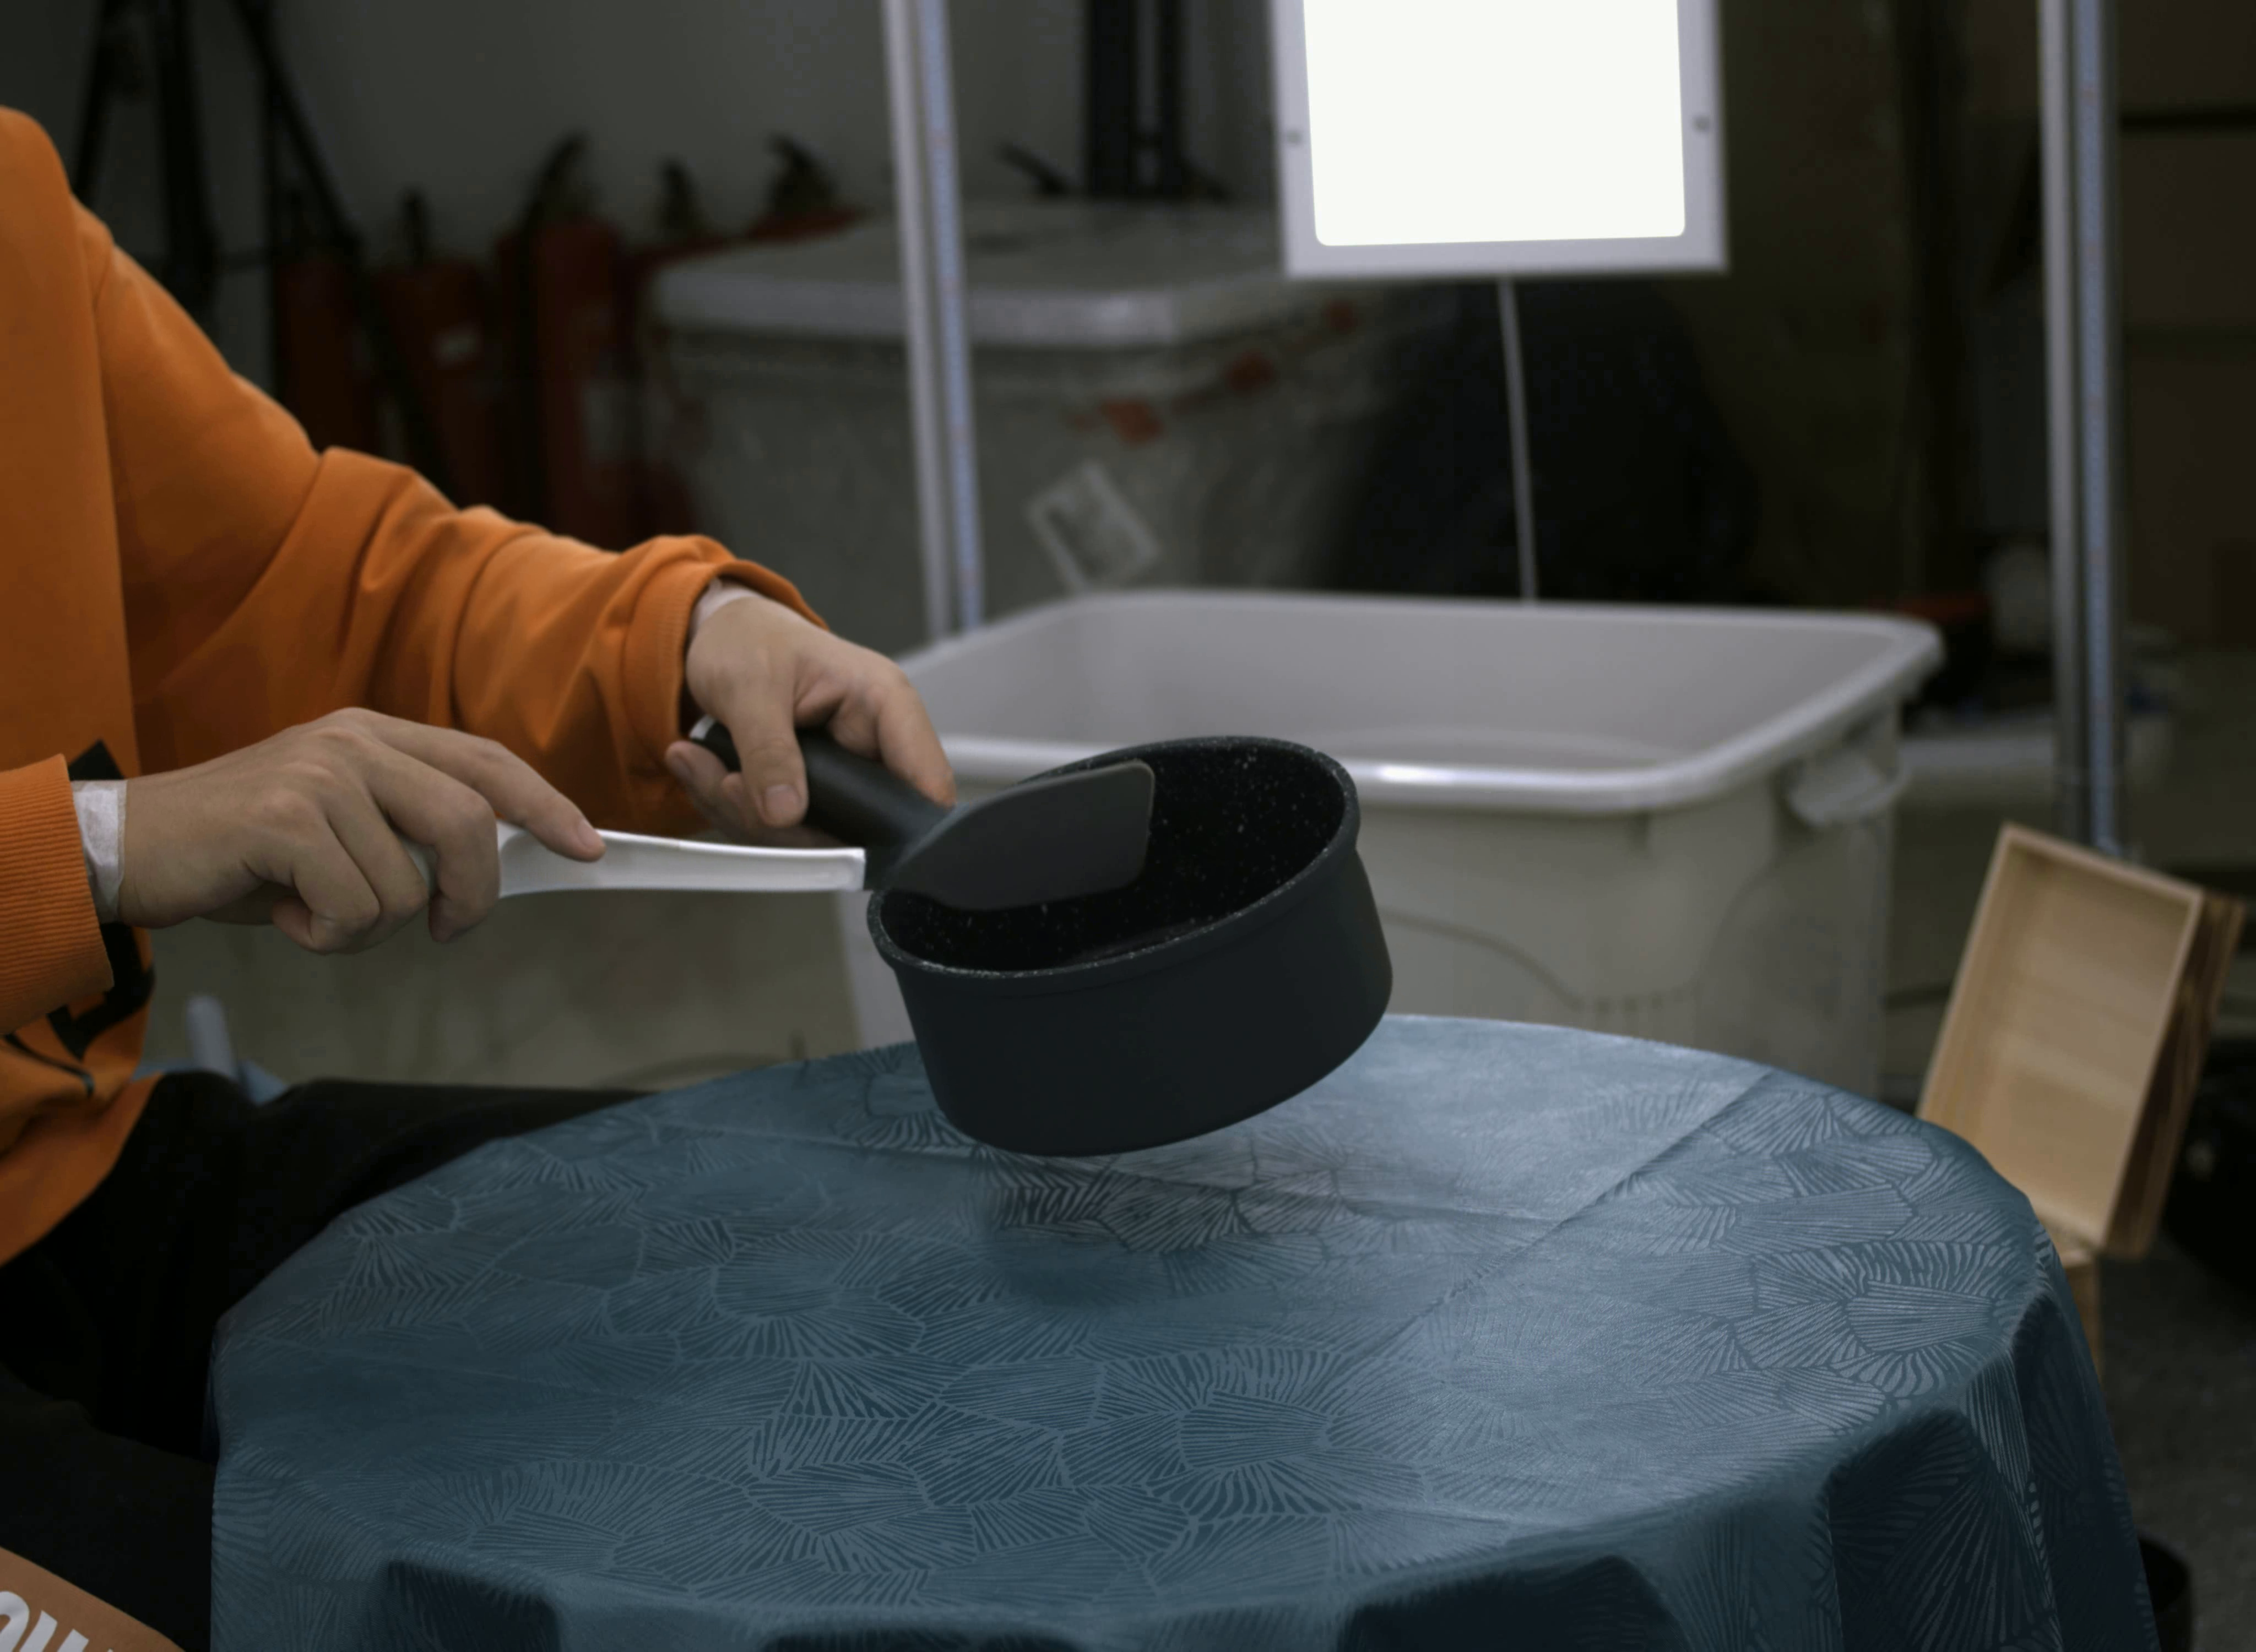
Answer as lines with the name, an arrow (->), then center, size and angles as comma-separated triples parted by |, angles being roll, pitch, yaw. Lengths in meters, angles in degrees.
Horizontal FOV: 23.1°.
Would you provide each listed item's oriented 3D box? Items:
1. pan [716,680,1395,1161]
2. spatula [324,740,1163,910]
pan -> -0.042, 0.023, 1.929 | 0.168, 0.086, 0.335 | -28, 27, -26
spatula -> -0.126, 0.005, 1.854 | 0.284, 0.059, 0.032 | -3, 32, -12
